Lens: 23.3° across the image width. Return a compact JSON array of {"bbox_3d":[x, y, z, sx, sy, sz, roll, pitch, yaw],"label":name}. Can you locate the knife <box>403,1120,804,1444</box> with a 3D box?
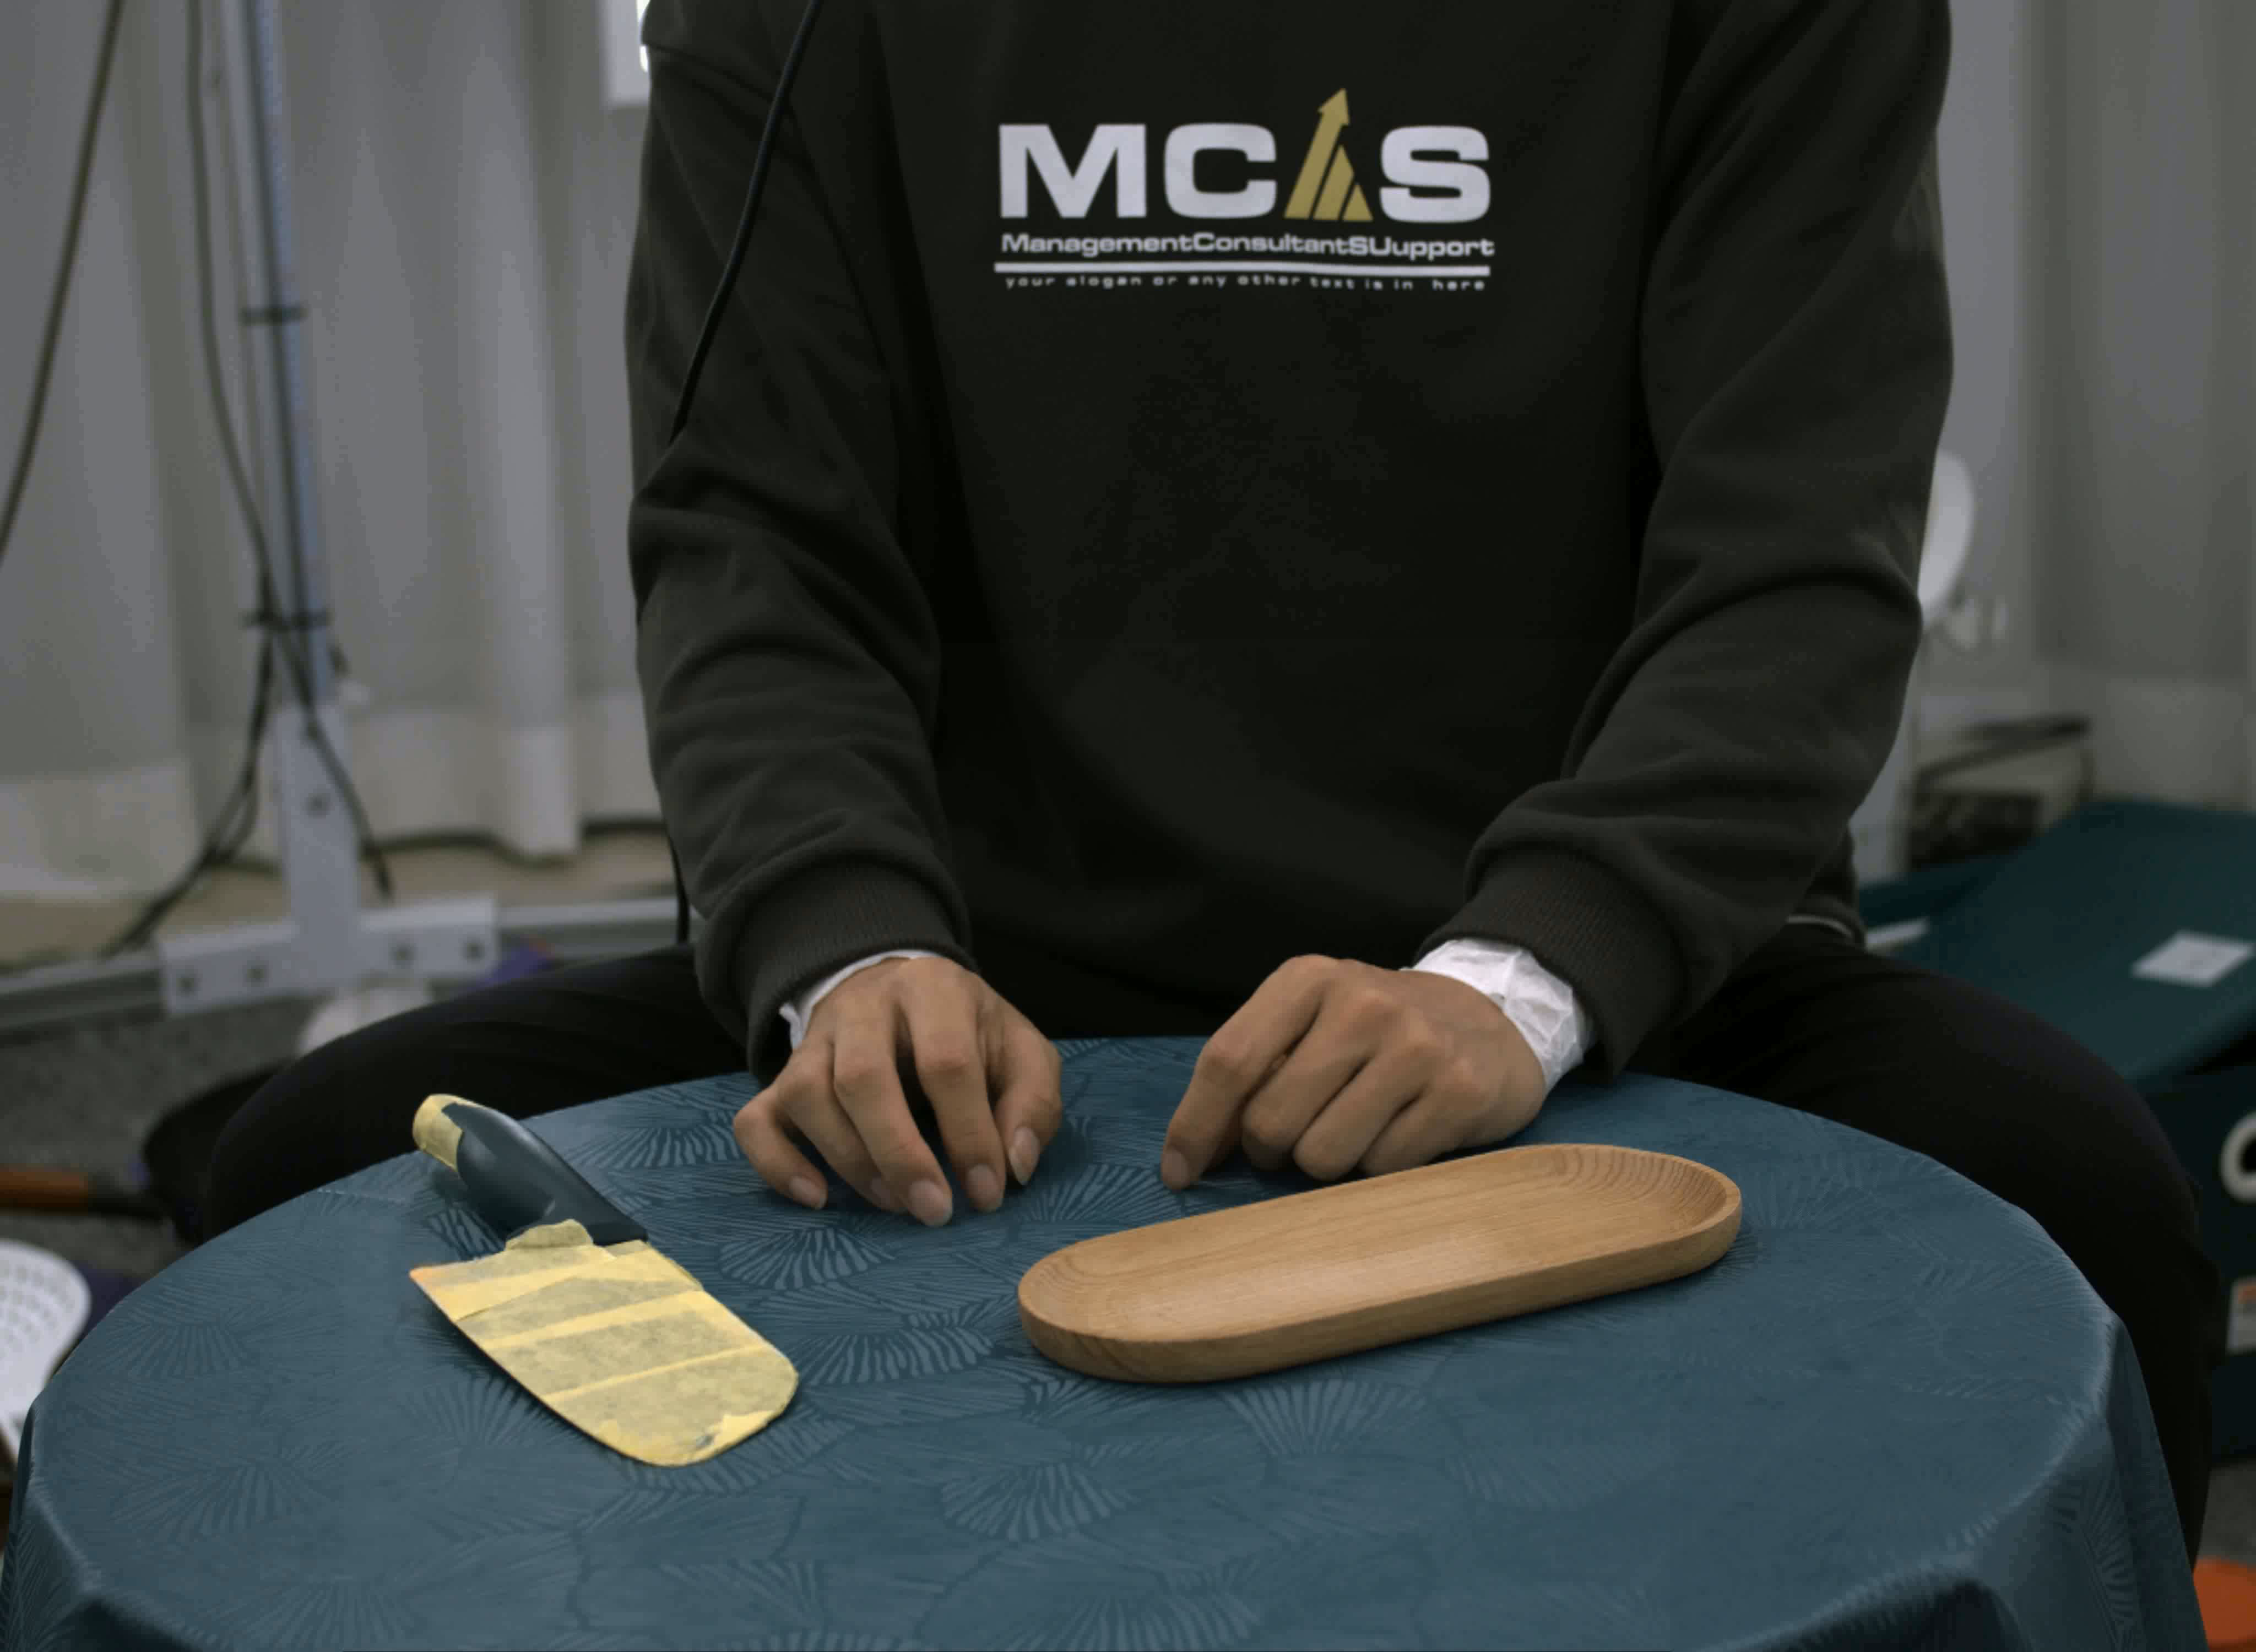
[{"bbox_3d":[-0.172,0.137,1.637,0.080,0.027,0.292,-7,16,-24],"label":"knife"}]

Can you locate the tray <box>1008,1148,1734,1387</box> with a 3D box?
[{"bbox_3d":[0.073,0.130,1.615,0.230,0.020,0.102,-11,15,-25],"label":"tray"}]
